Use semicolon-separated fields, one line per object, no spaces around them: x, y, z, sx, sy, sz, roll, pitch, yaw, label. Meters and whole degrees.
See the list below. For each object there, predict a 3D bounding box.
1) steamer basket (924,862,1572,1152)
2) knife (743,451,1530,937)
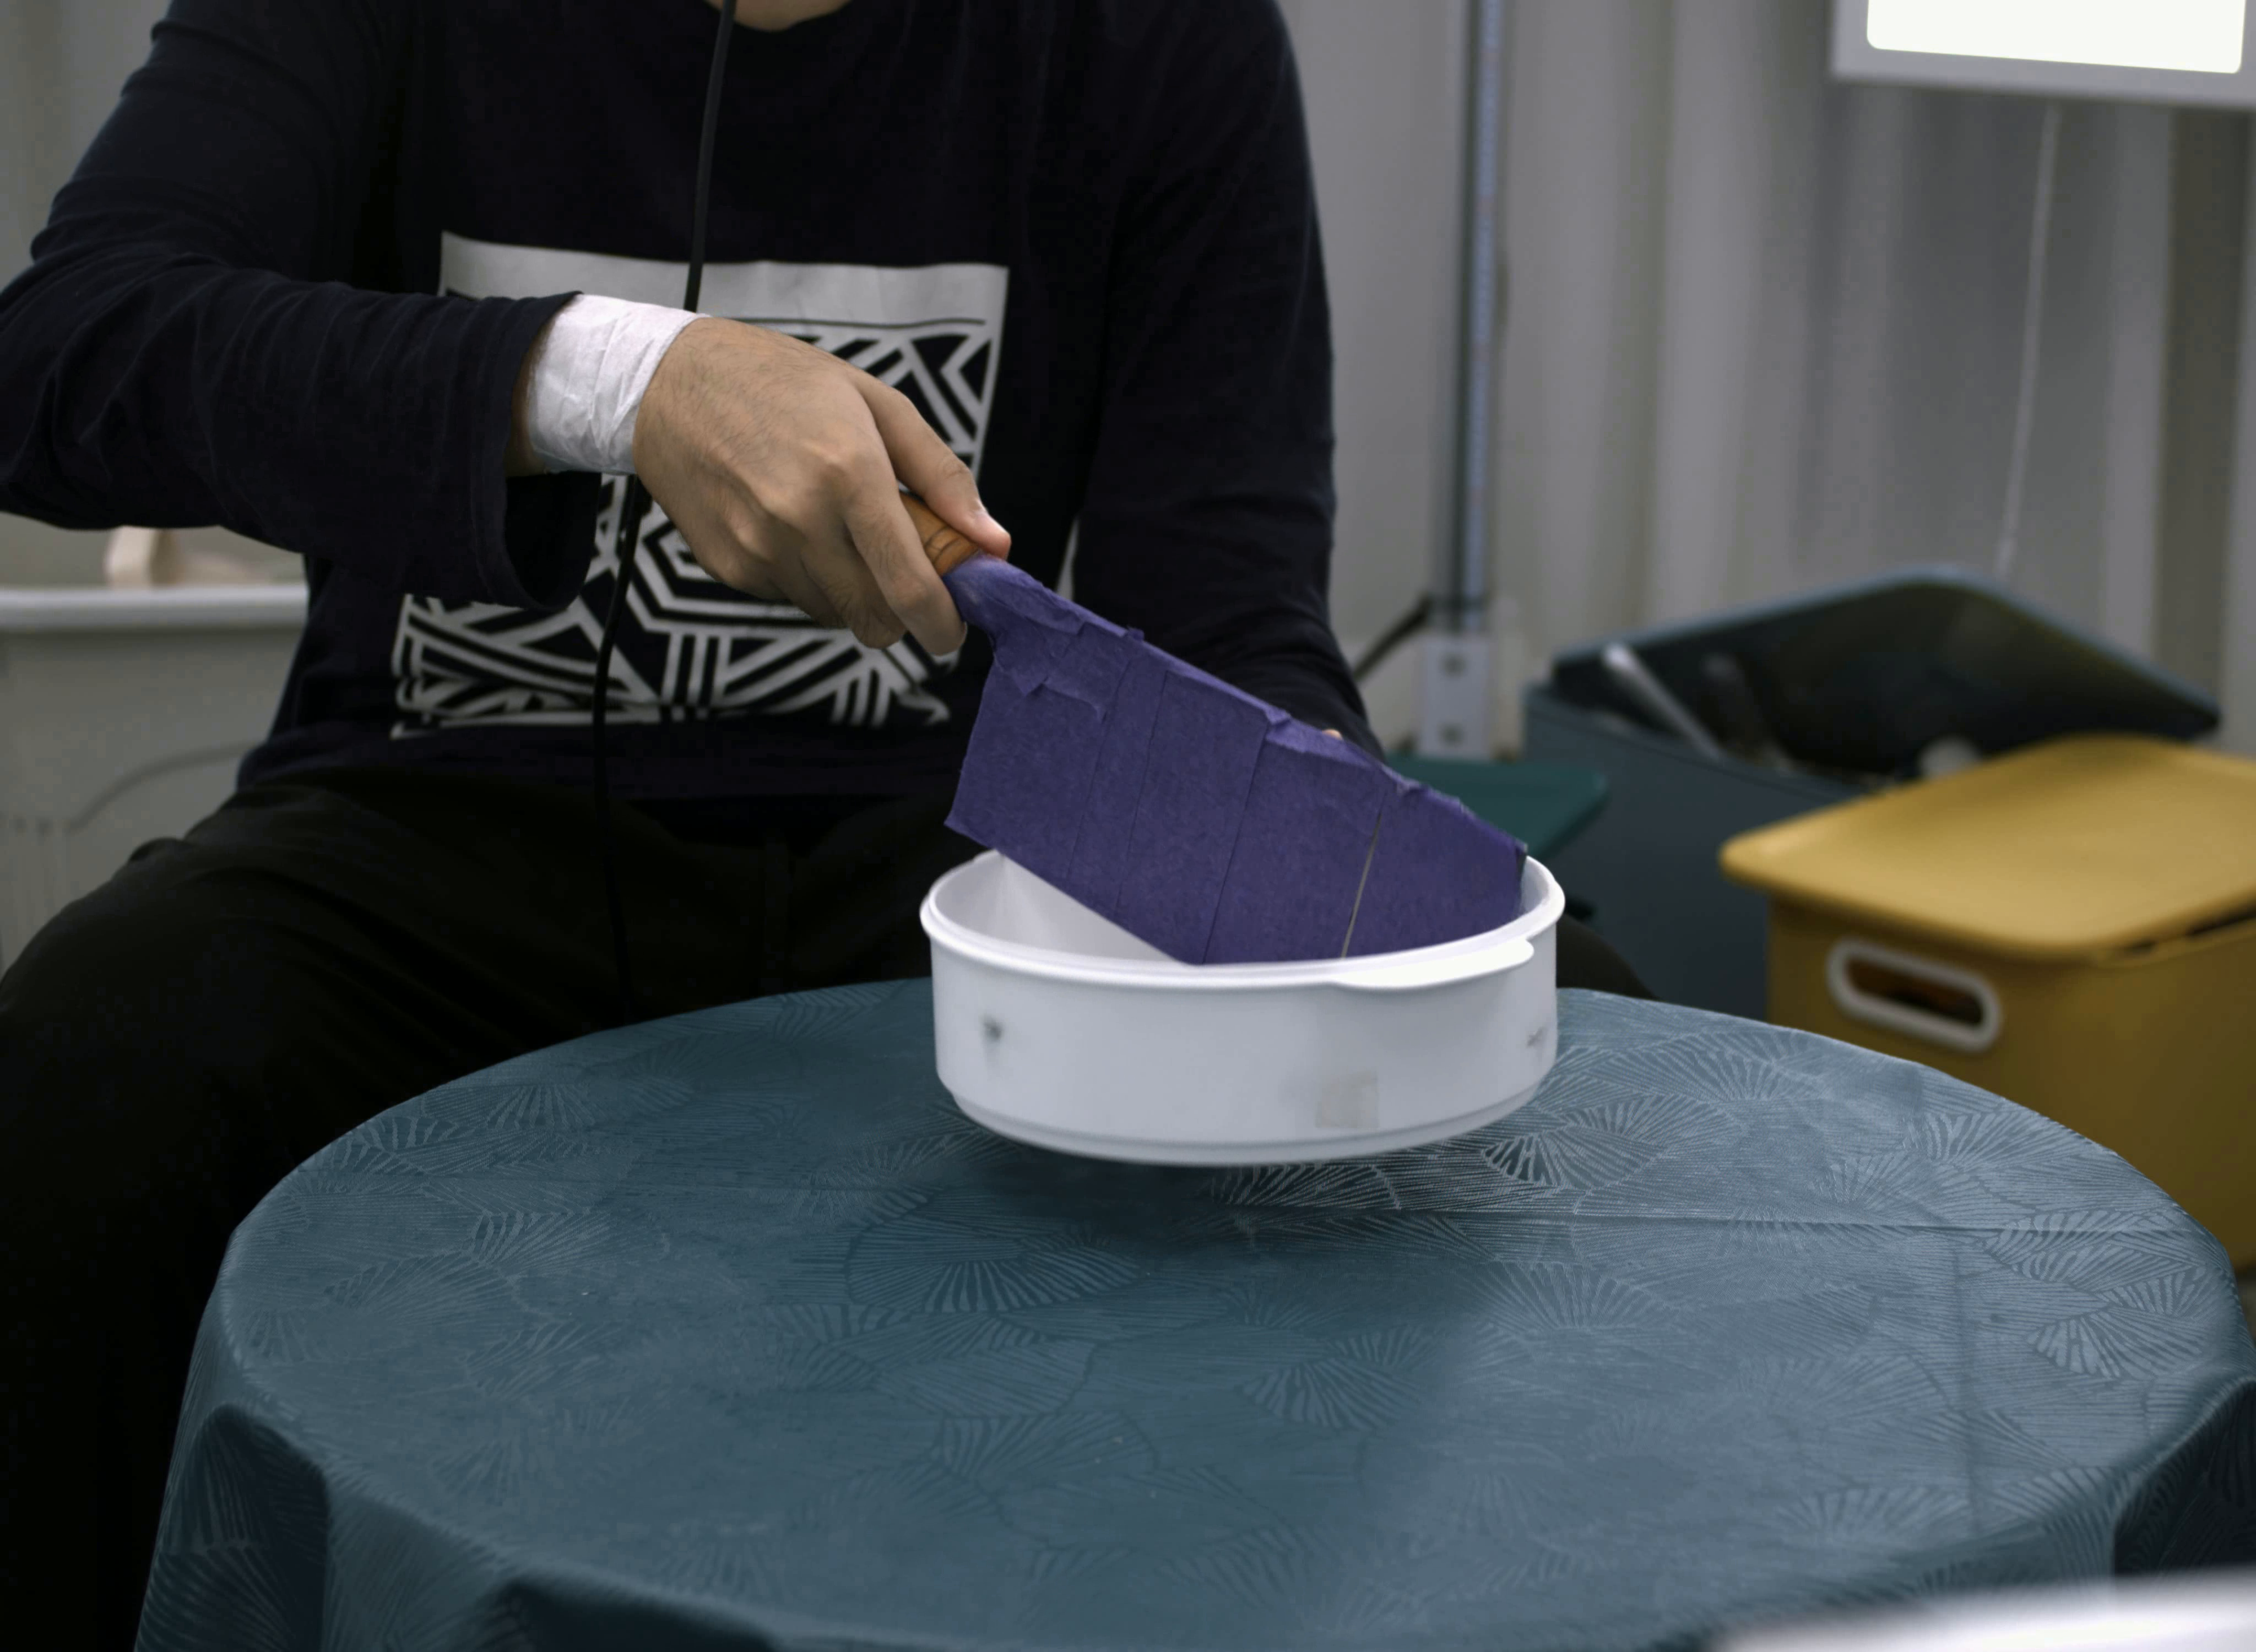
0.038;0.052;1.635;0.203;0.069;0.228;-7;12;-34;steamer basket
-0.009;-0.022;1.652;0.311;0.104;0.032;28;24;32;knife
